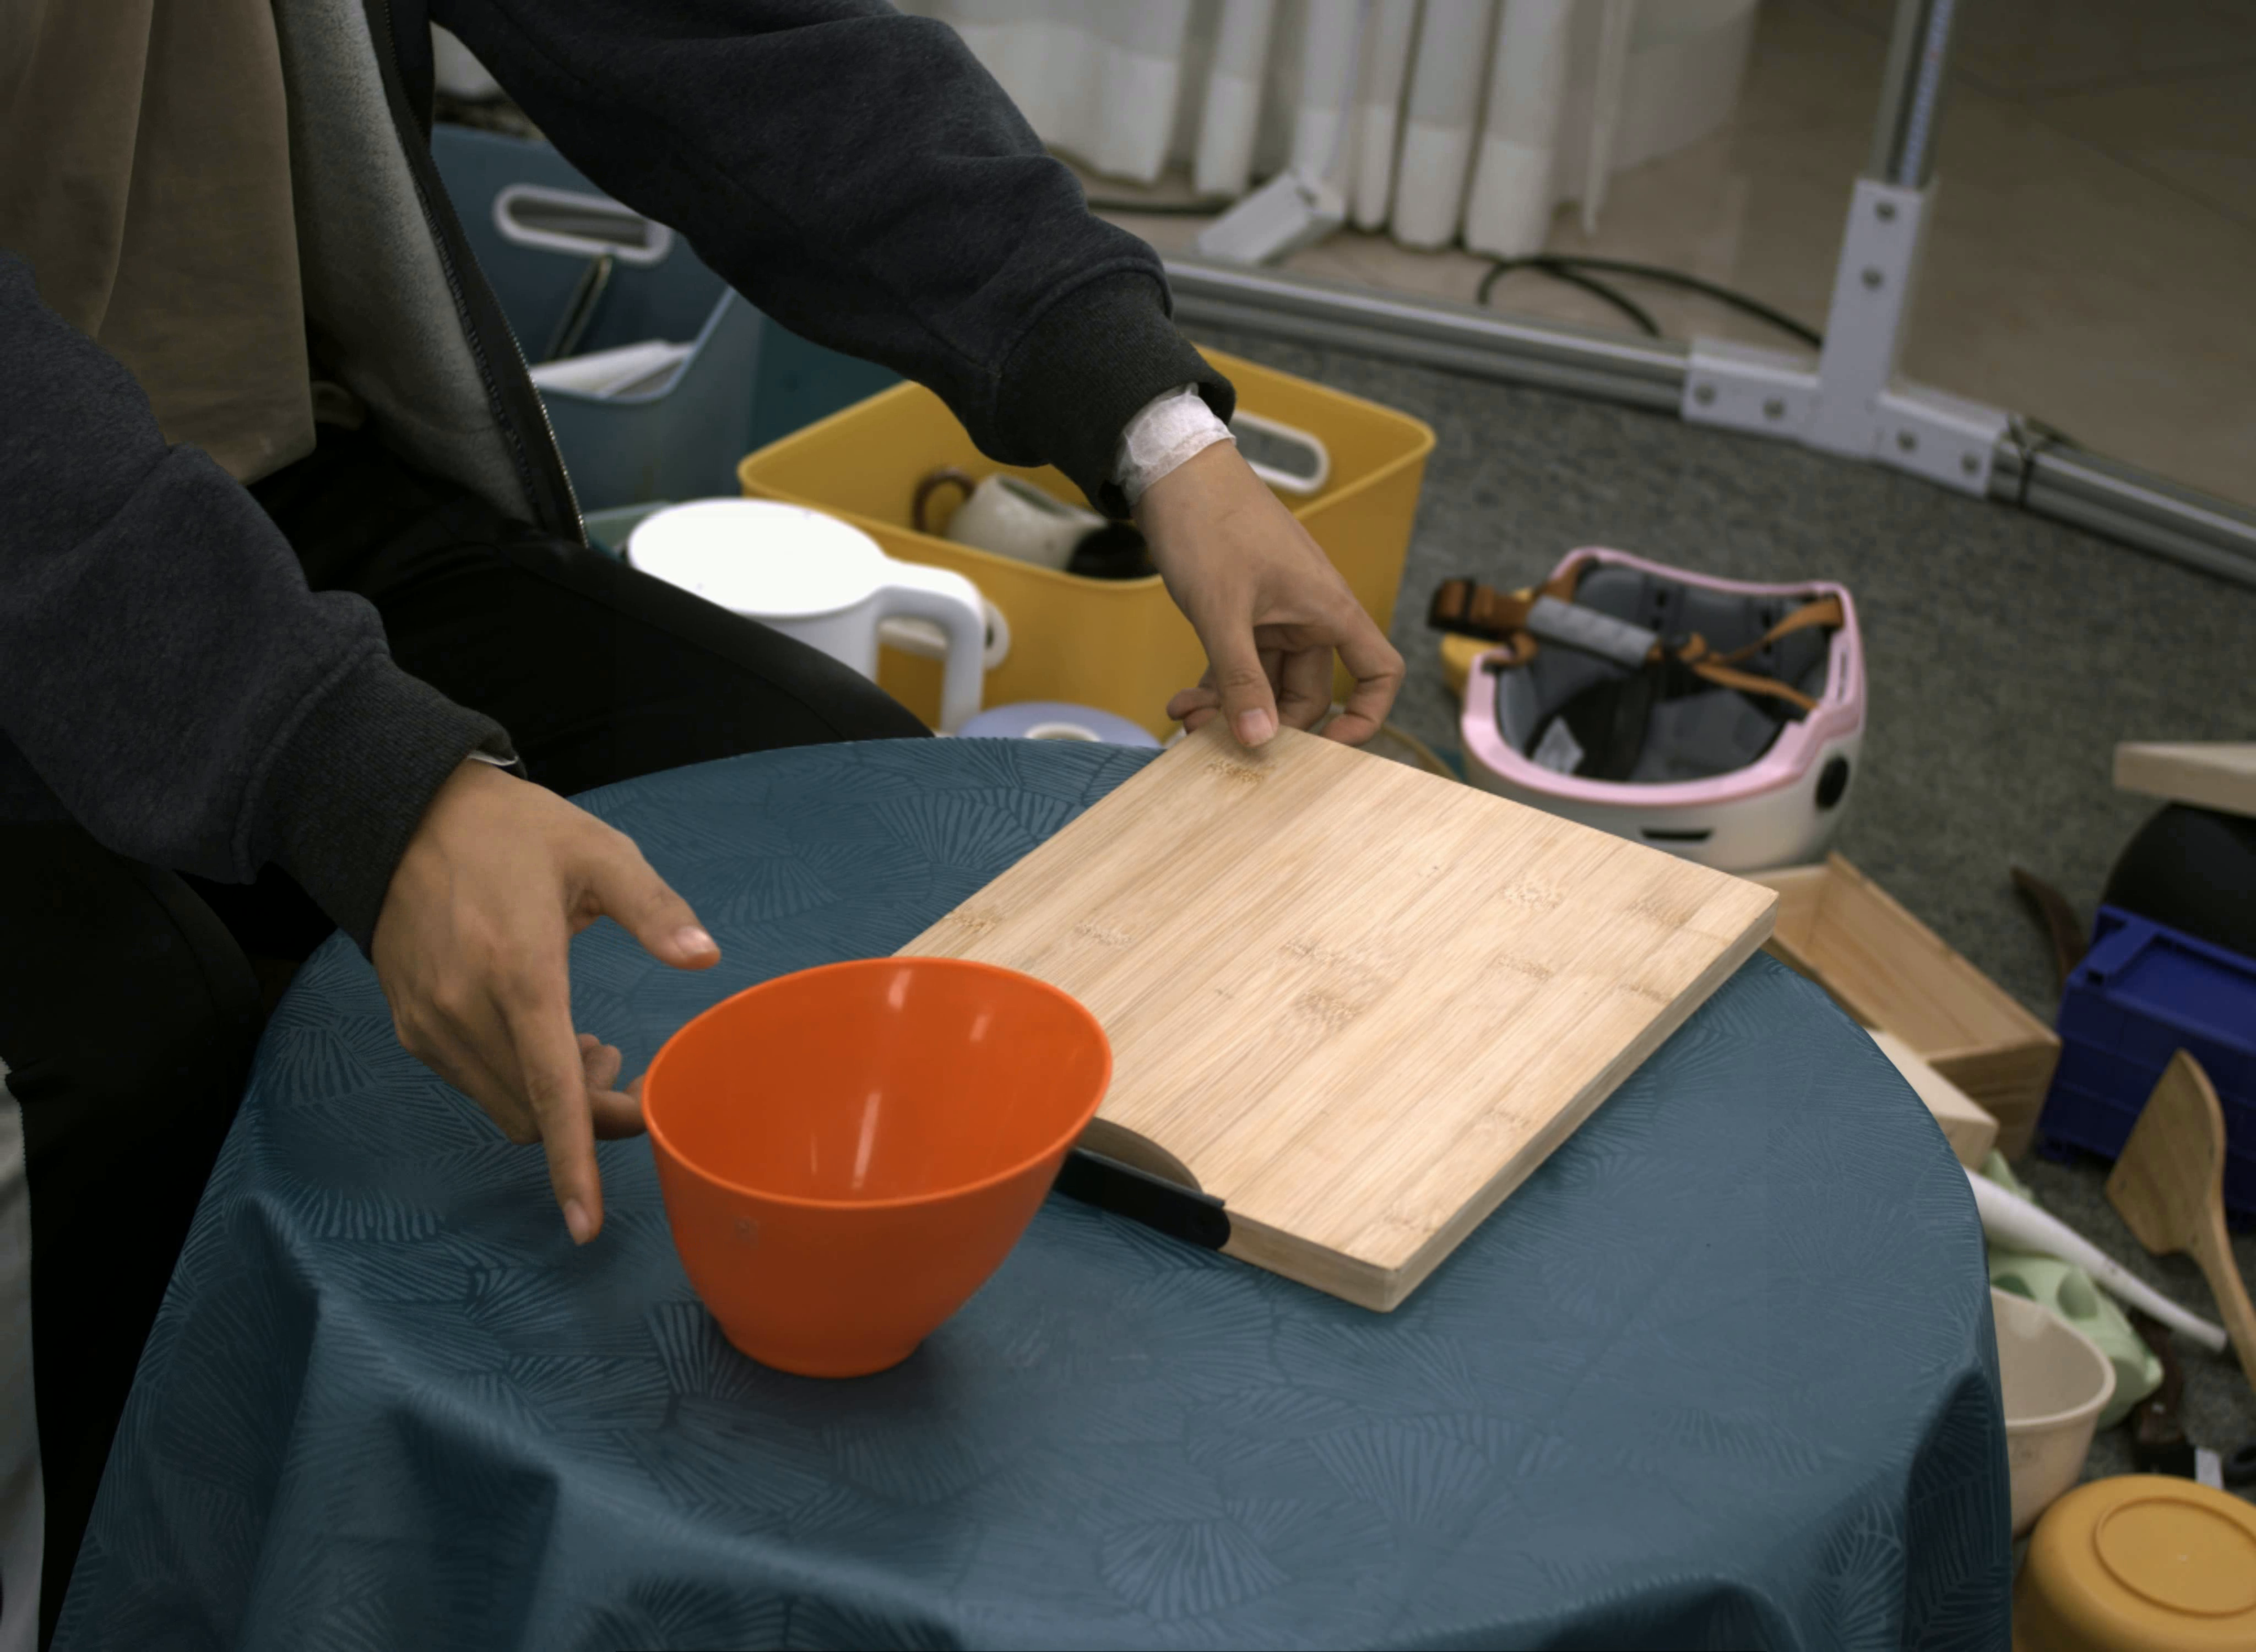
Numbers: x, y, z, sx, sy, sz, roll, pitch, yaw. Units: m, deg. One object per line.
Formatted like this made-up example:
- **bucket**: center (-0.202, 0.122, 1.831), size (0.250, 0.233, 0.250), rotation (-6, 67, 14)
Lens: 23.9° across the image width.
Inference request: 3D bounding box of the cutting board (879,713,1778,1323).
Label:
- **cutting board**: center (0.059, 0.060, 1.921), size (0.252, 0.023, 0.348), rotation (18, 29, 23)

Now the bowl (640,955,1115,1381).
- **bowl**: center (-0.083, 0.115, 1.687), size (0.147, 0.104, 0.149), rotation (6, 29, -4)
